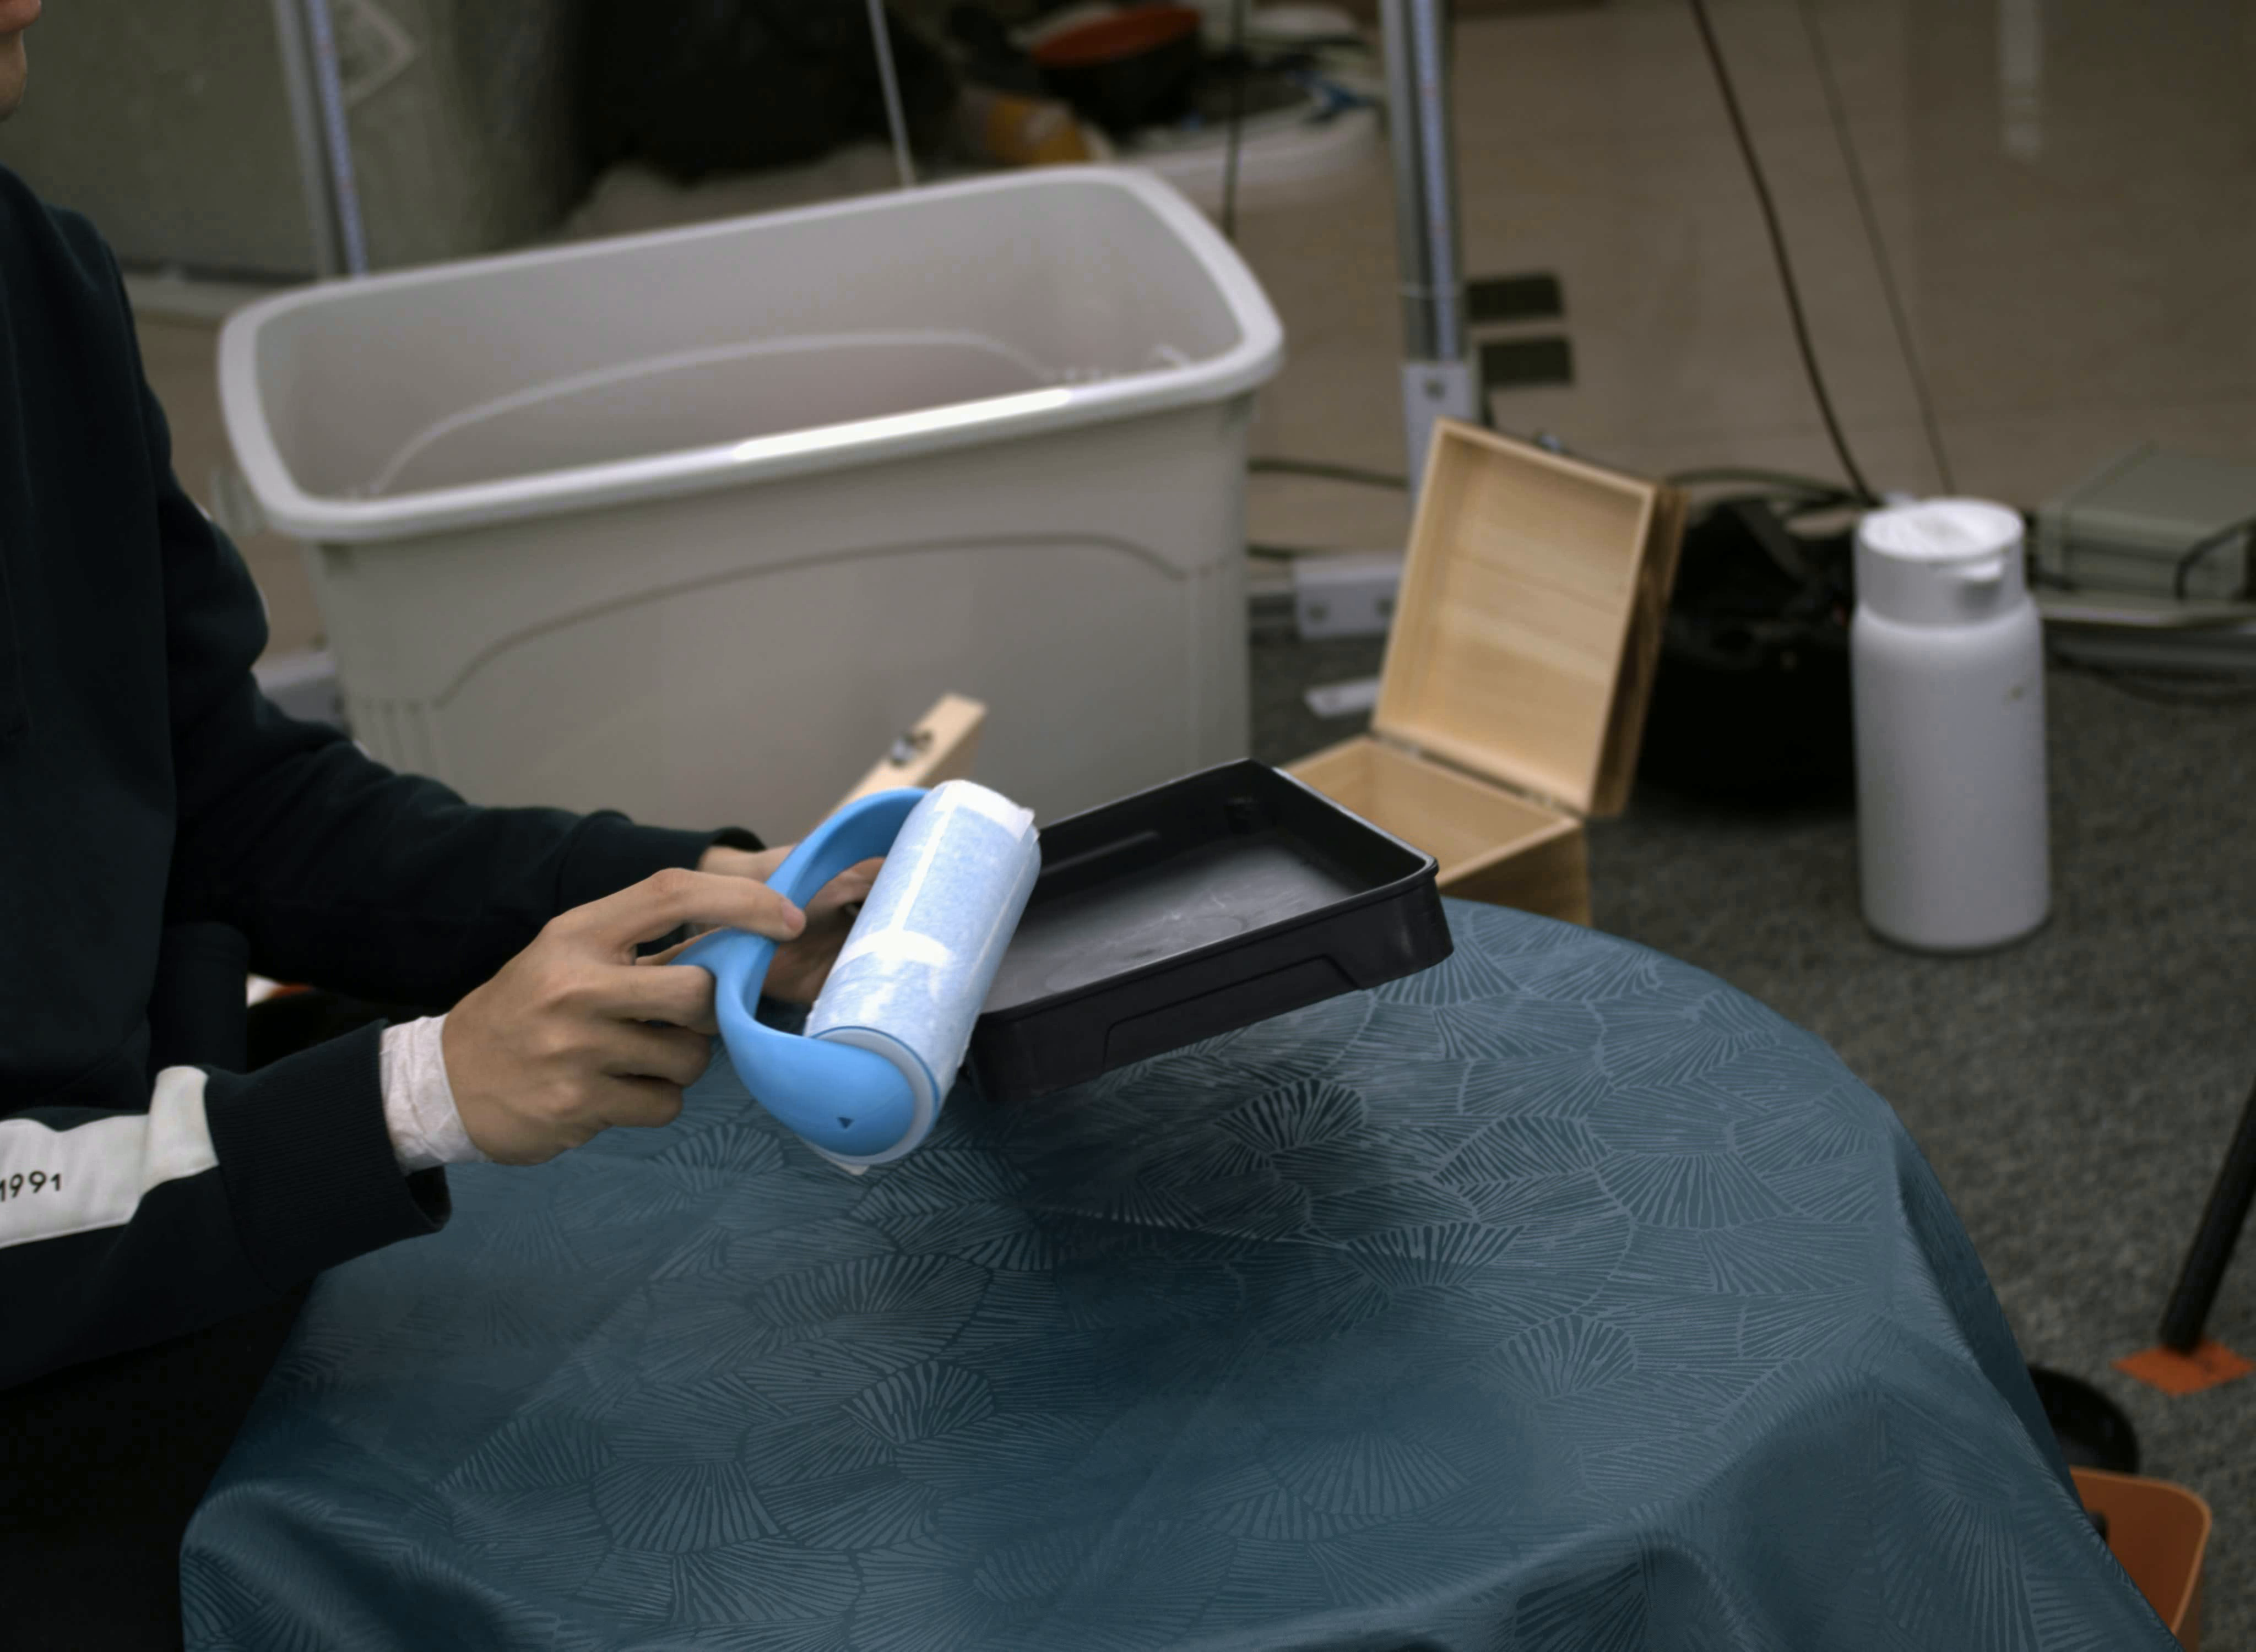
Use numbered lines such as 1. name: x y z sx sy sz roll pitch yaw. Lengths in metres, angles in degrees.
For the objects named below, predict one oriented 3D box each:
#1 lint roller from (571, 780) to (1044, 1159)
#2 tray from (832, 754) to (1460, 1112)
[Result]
1. lint roller: -0.126 0.064 1.984 0.180 0.069 0.225 -18 23 15
2. tray: 0.002 0.037 2.145 0.184 0.037 0.316 -19 12 -9
